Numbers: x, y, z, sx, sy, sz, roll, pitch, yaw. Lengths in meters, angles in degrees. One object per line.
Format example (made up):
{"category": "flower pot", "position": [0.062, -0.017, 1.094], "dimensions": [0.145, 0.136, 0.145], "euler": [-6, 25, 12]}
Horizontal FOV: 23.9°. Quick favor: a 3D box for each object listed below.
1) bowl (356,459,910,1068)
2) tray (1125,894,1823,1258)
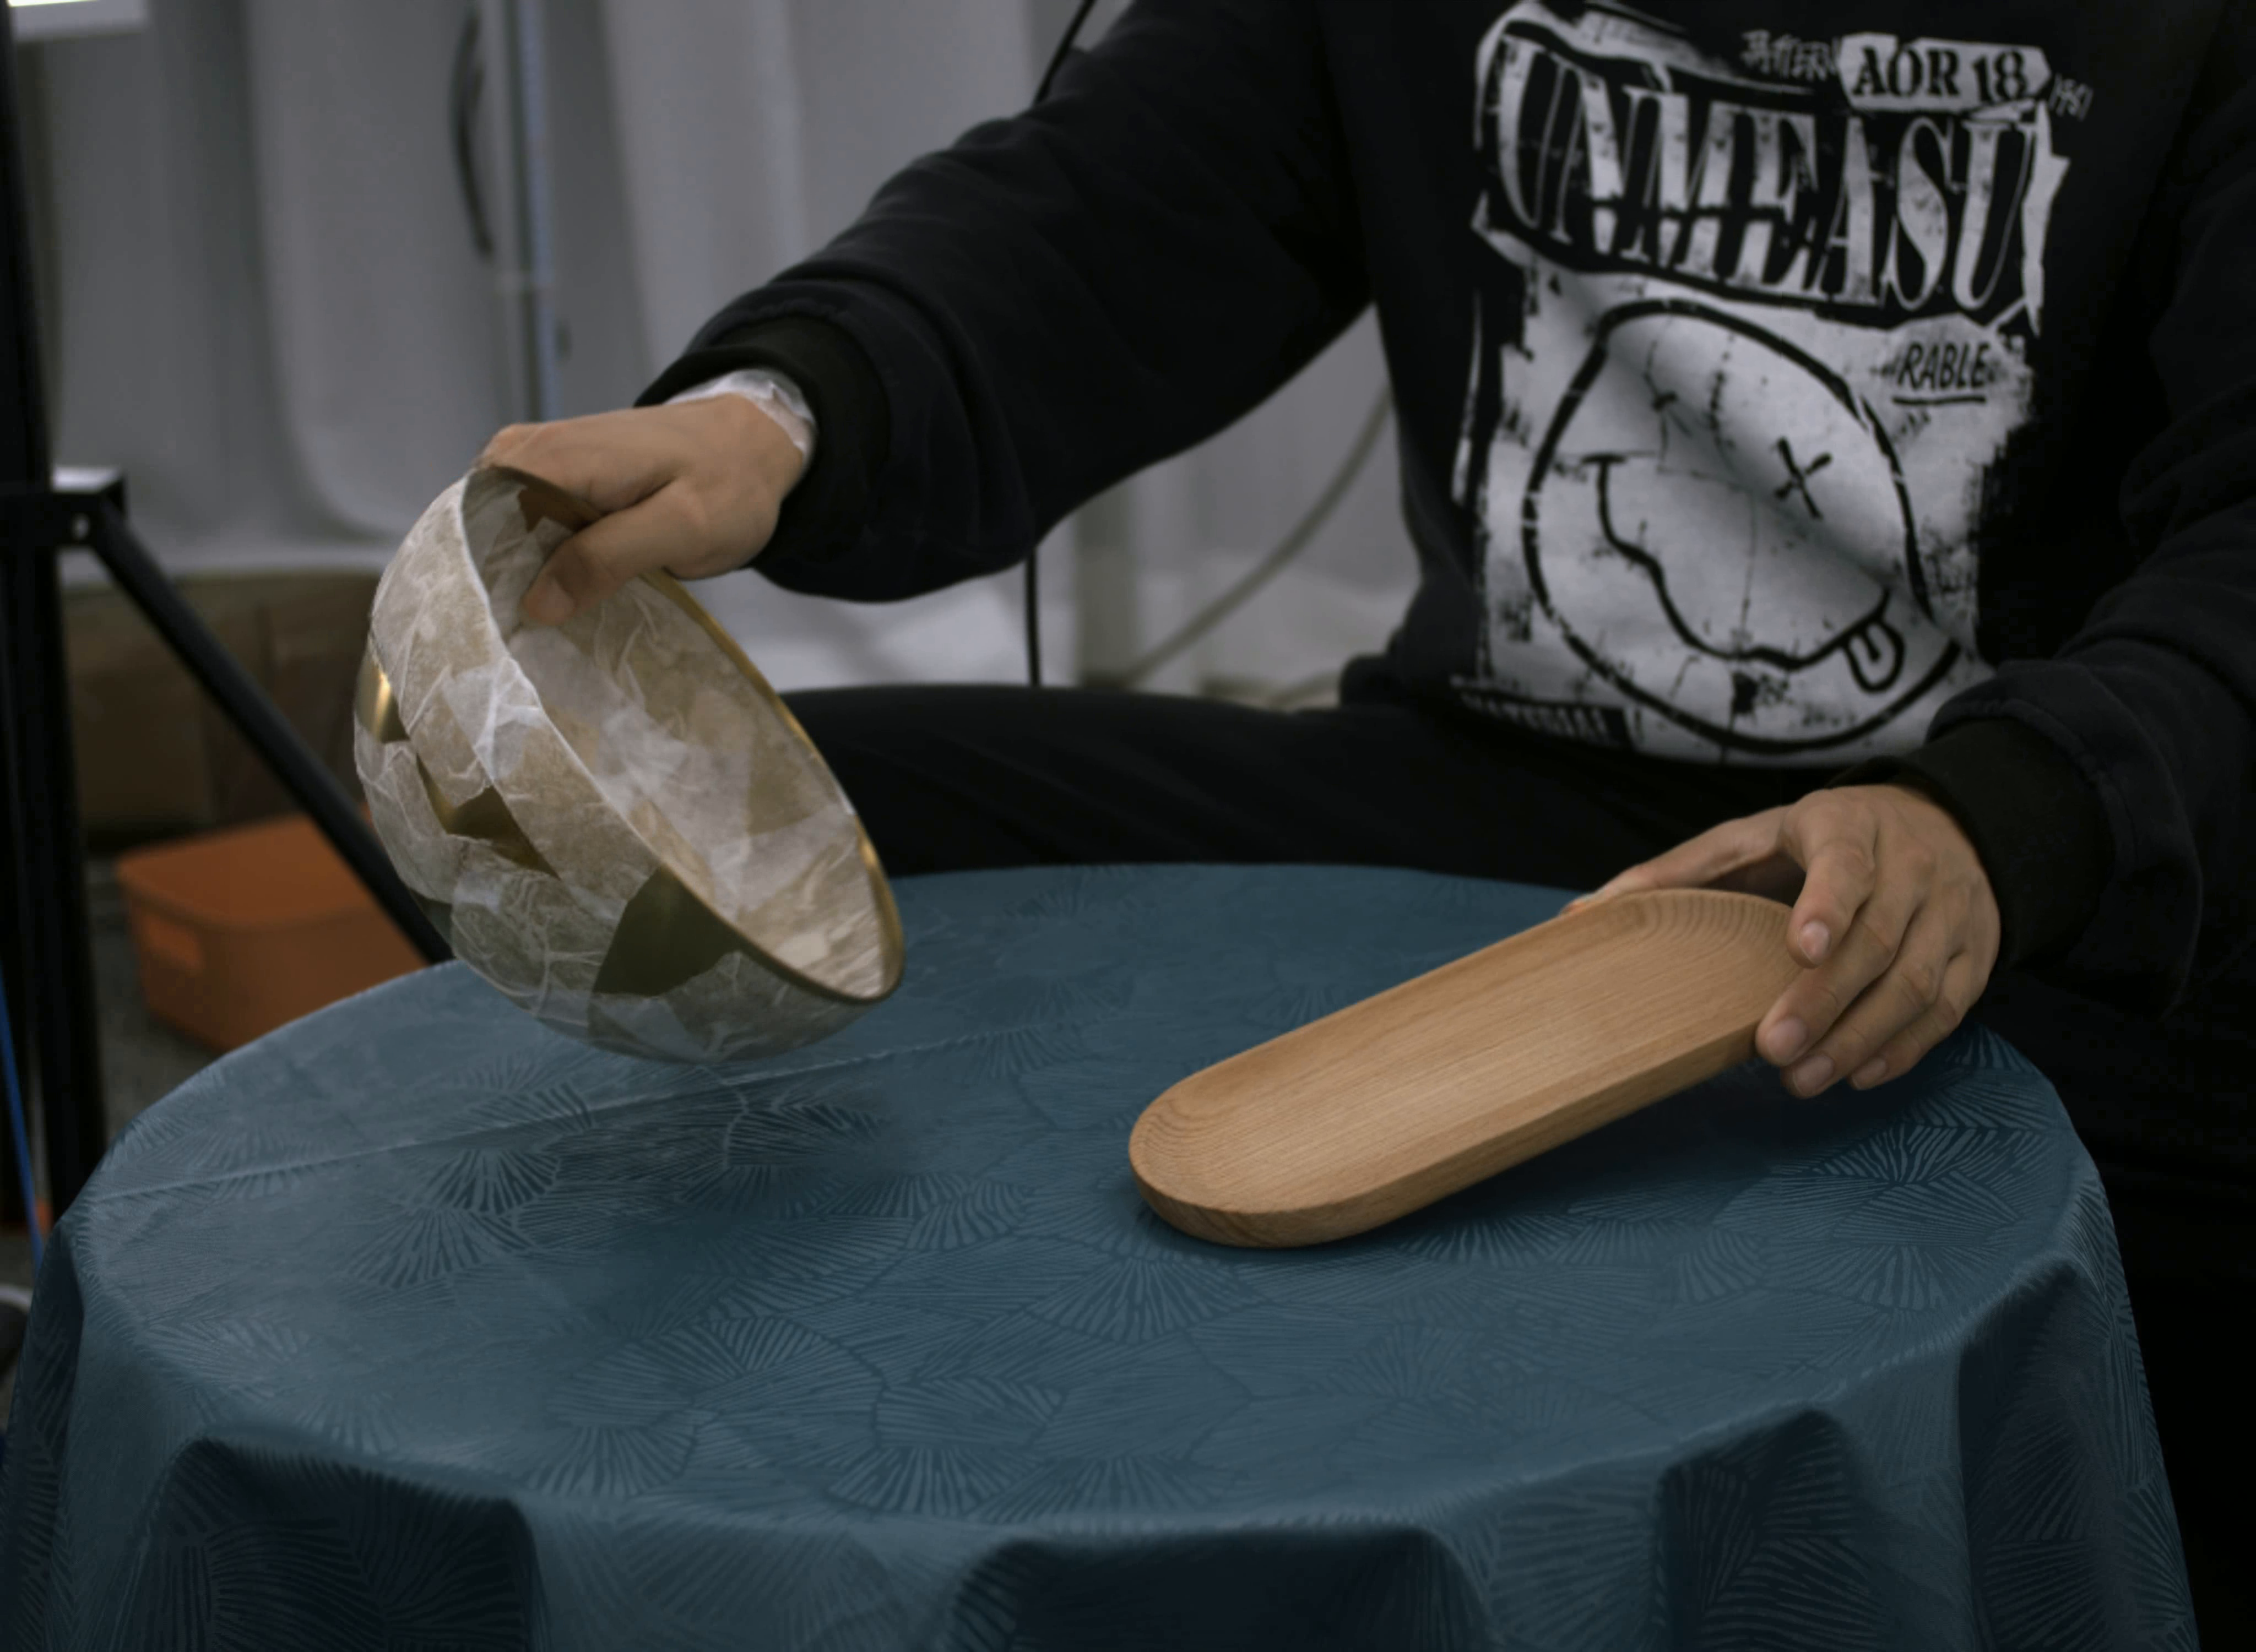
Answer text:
{"category": "bowl", "position": [-0.163, 0.000, 1.606], "dimensions": [0.095, 0.213, 0.215], "euler": [-37, 9, 13]}
{"category": "tray", "position": [0.104, 0.073, 1.565], "dimensions": [0.227, 0.020, 0.104], "euler": [-24, 25, -23]}
